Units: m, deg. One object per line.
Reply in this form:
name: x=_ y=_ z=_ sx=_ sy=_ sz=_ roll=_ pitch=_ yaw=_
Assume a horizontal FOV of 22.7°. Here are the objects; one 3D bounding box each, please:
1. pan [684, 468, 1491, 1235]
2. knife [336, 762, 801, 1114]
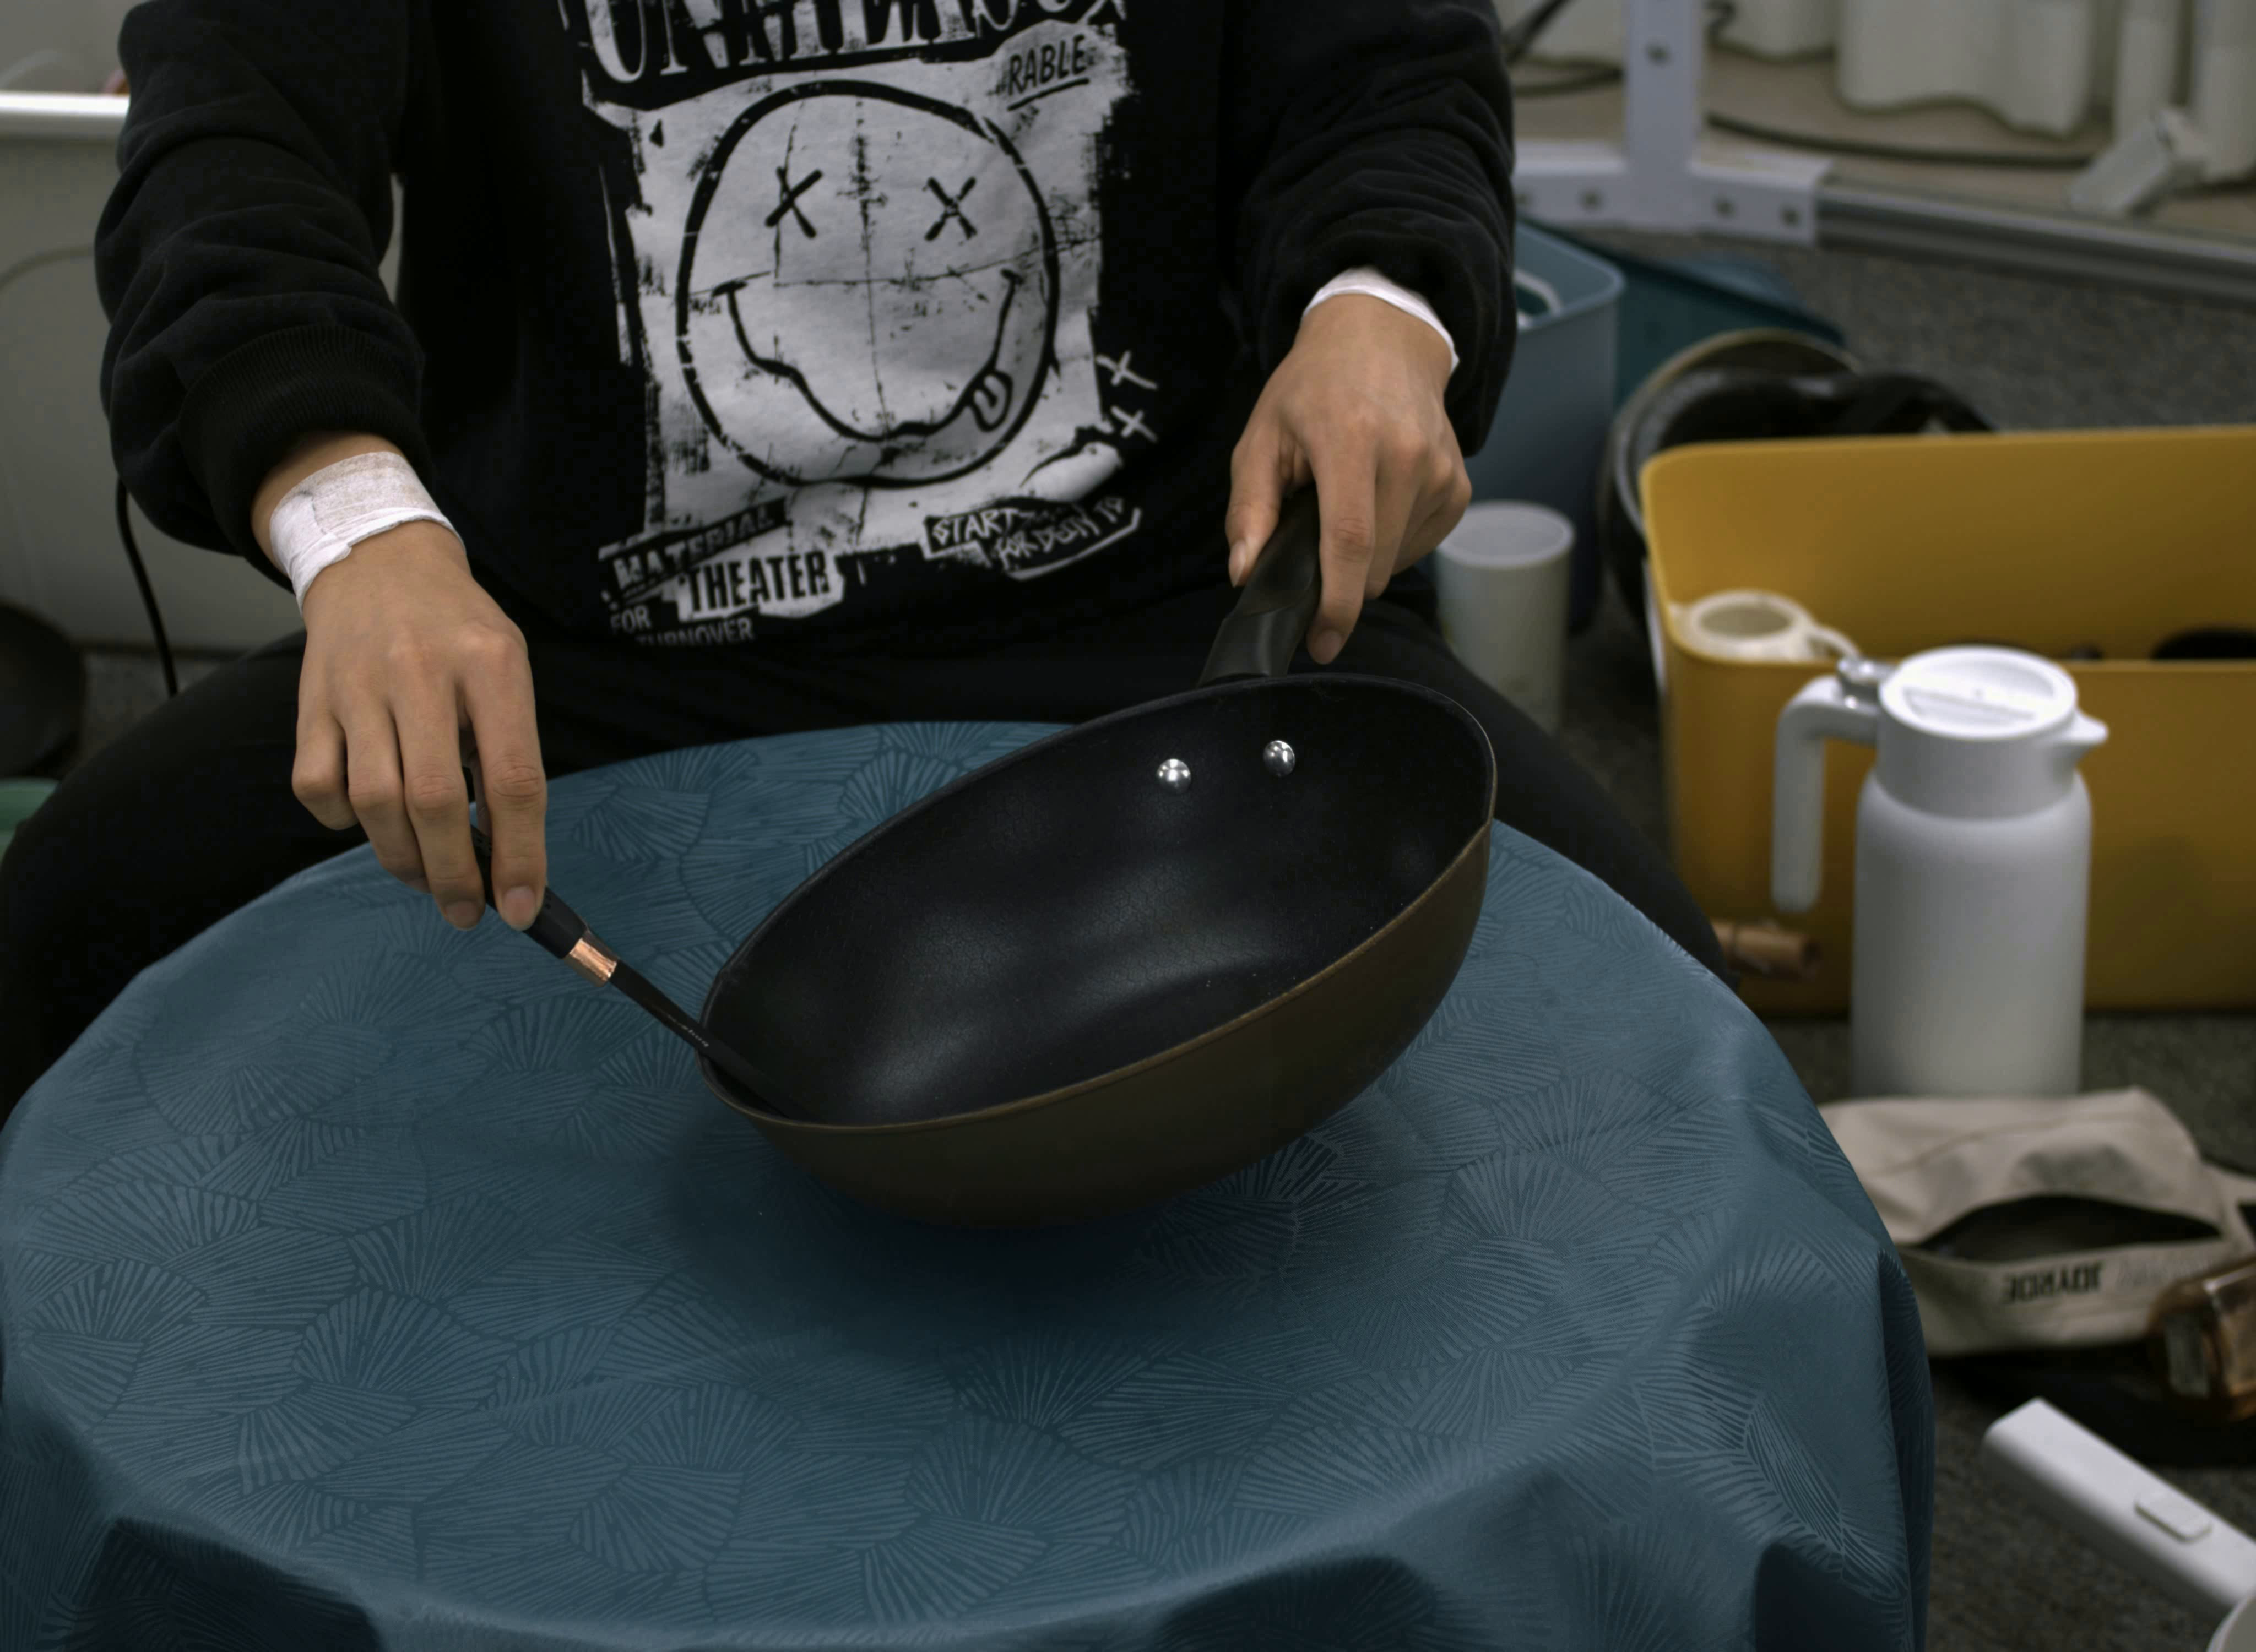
pan: x=0.026 y=0.011 z=1.931 sx=0.285 sy=0.086 sz=0.471 roll=-11 pitch=24 yaw=25
knife: x=-0.168 y=0.050 z=1.849 sx=0.225 sy=0.017 sz=0.026 roll=38 pitch=0 yaw=-3
